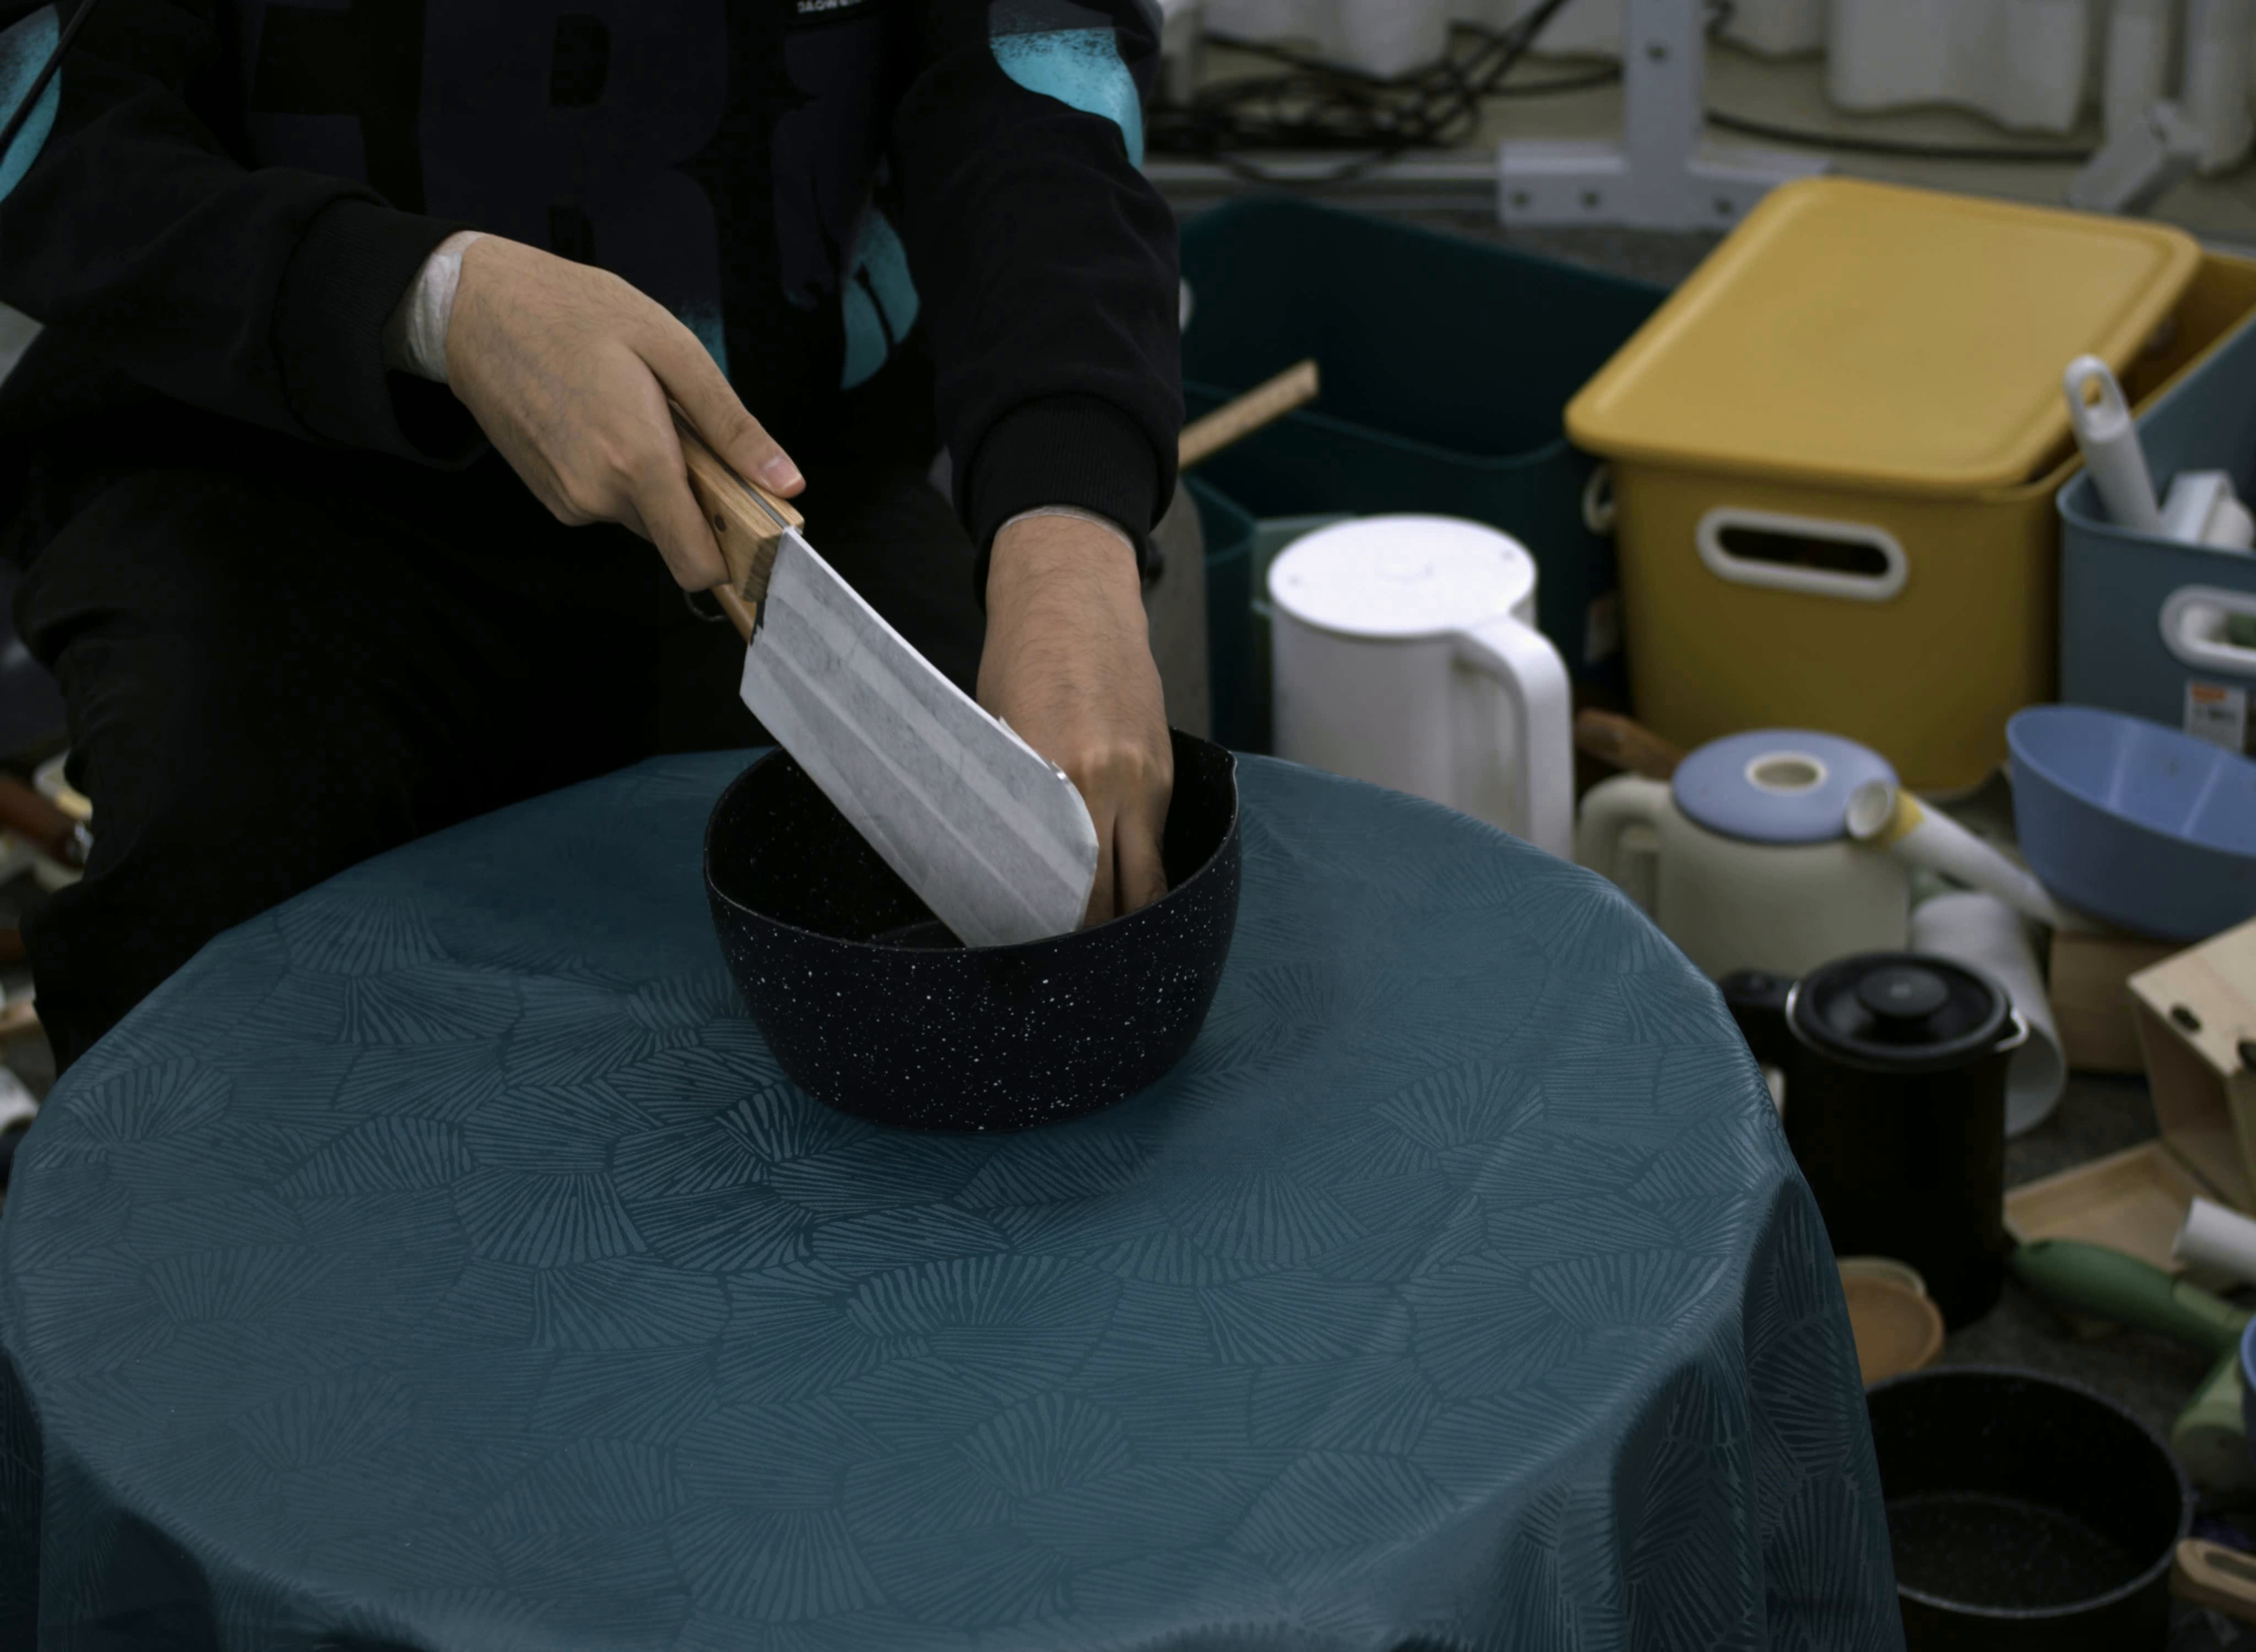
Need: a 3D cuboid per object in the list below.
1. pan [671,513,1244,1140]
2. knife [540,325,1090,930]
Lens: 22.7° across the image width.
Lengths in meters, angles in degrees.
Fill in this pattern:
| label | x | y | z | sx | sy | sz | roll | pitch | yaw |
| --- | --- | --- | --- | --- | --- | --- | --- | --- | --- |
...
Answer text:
| label | x | y | z | sx | sy | sz | roll | pitch | yaw |
| --- | --- | --- | --- | --- | --- | --- | --- | --- | --- |
| pan | -0.088 | -0.008 | 2.003 | 0.208 | 0.107 | 0.345 | -17 | 31 | -22 |
| knife | -0.108 | -0.065 | 1.940 | 0.022 | 0.112 | 0.317 | -22 | 57 | -35 |
